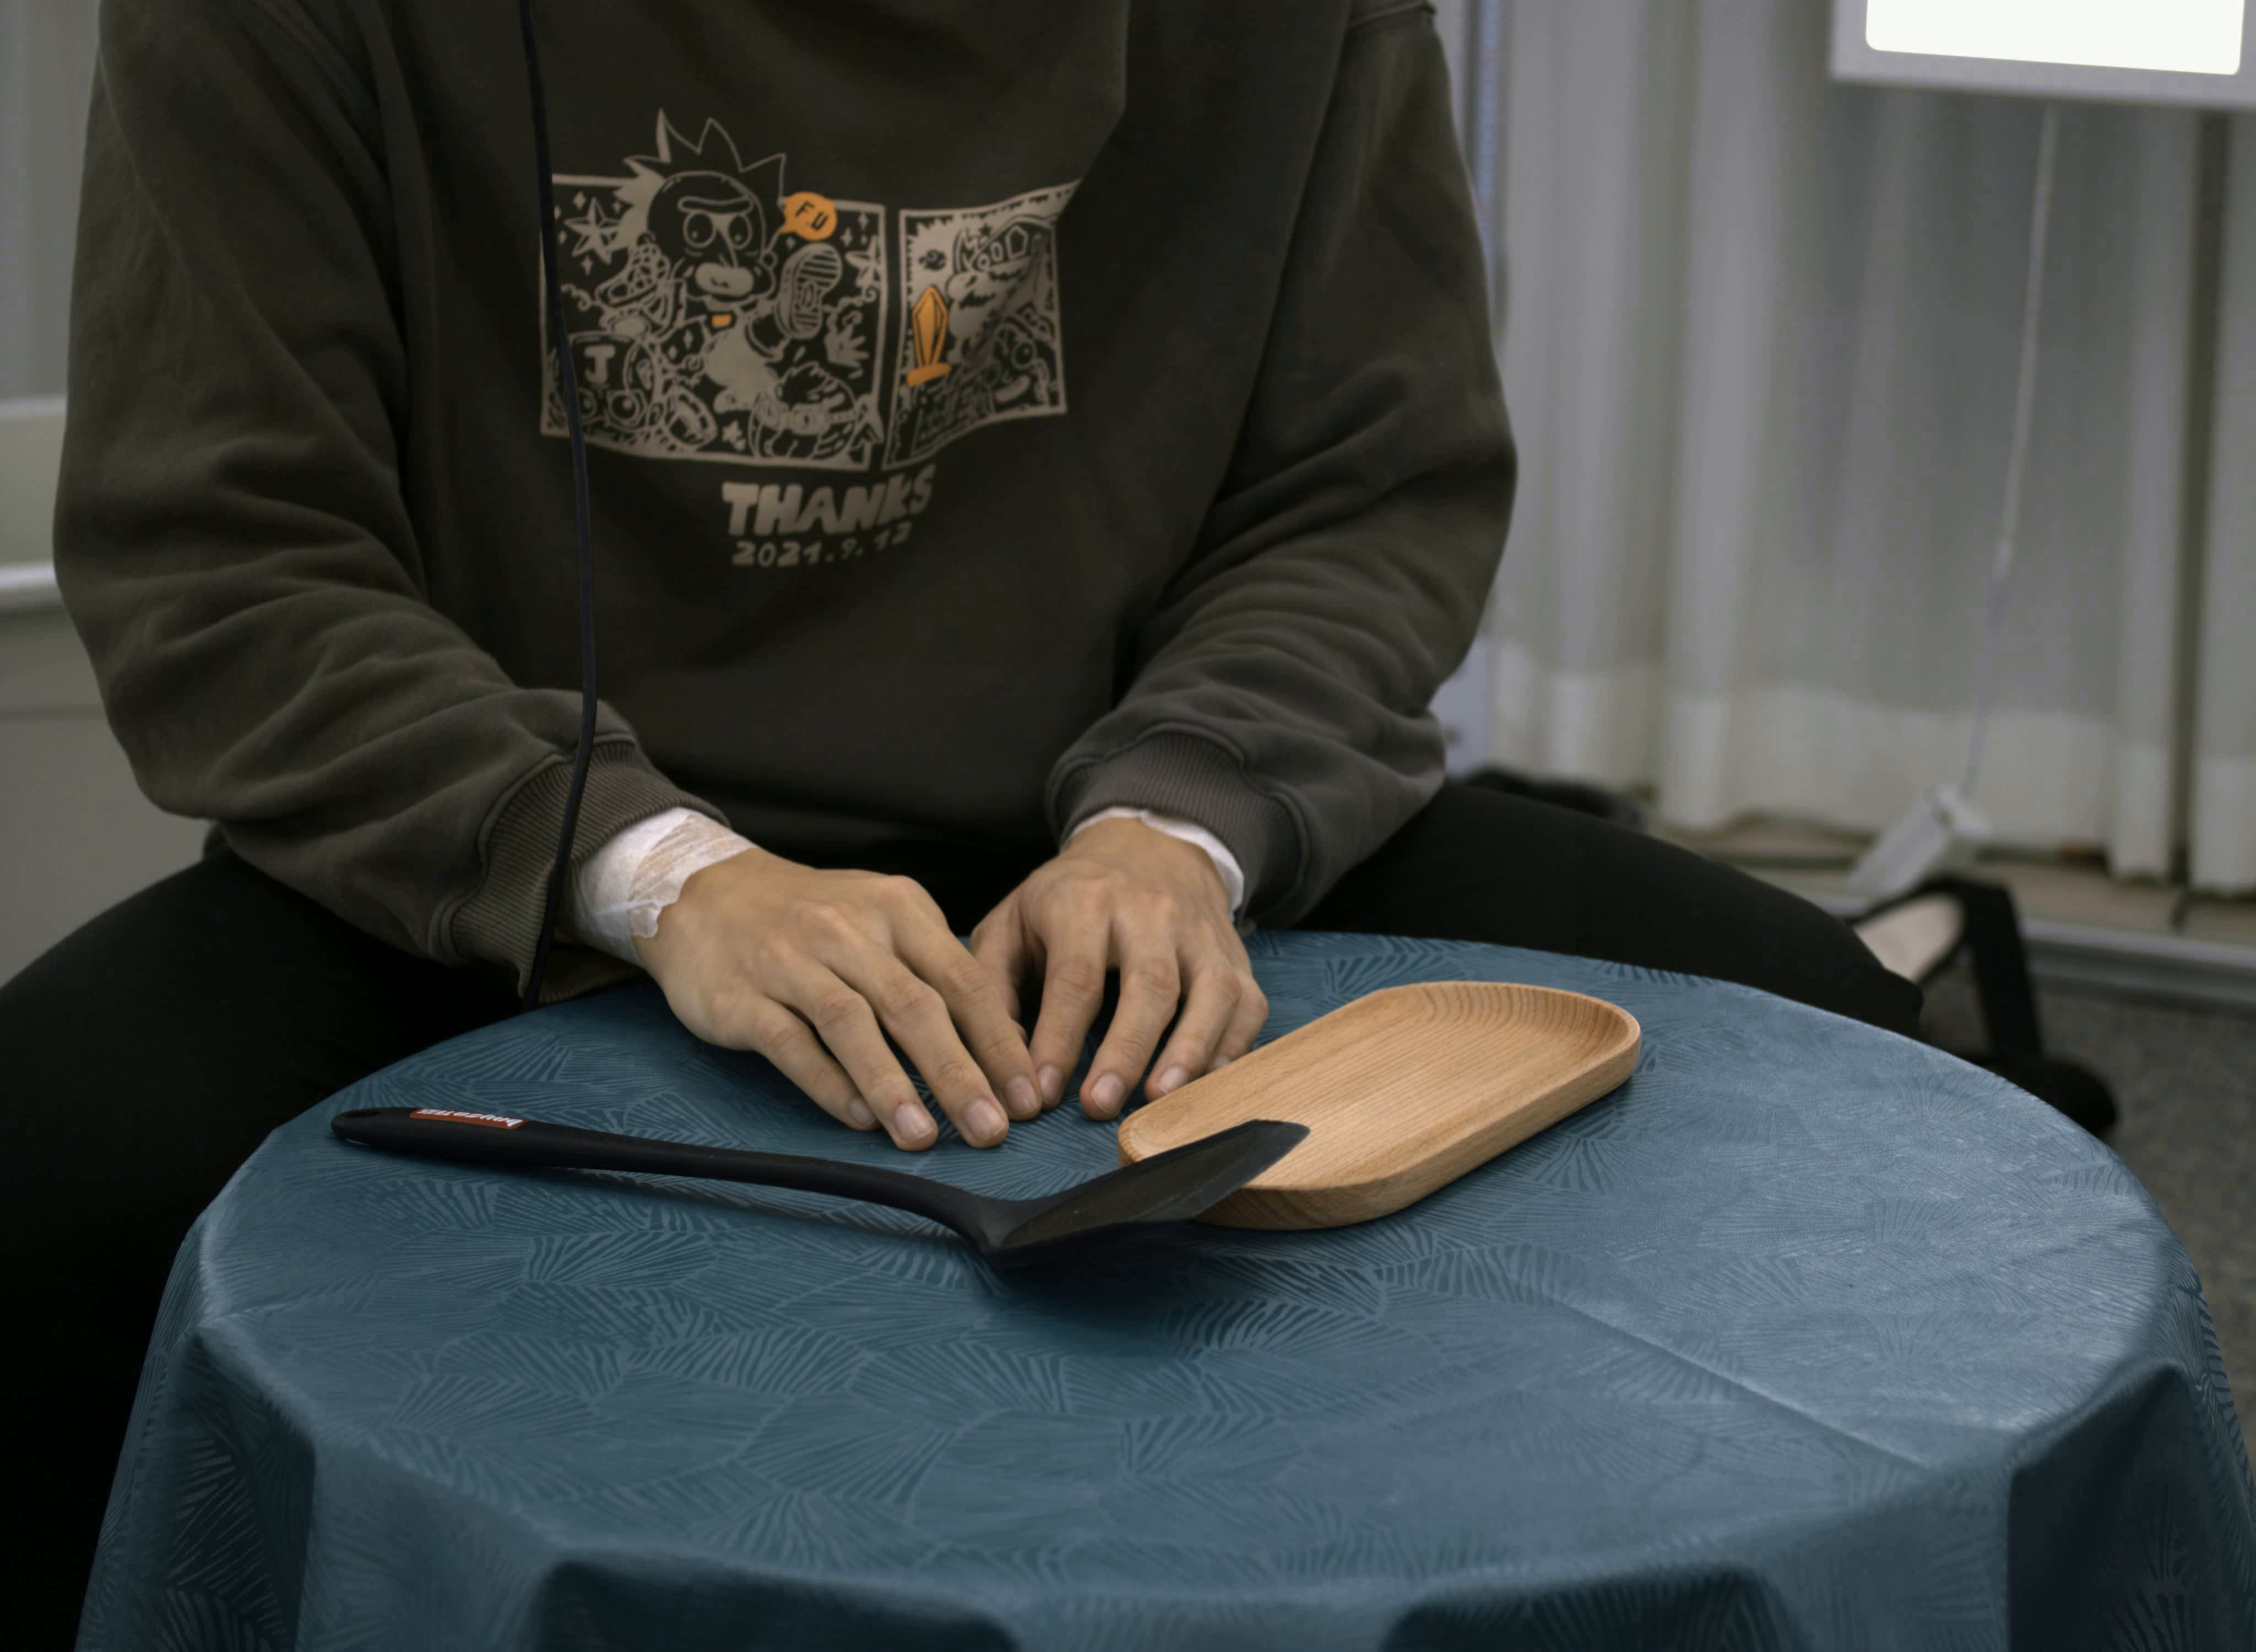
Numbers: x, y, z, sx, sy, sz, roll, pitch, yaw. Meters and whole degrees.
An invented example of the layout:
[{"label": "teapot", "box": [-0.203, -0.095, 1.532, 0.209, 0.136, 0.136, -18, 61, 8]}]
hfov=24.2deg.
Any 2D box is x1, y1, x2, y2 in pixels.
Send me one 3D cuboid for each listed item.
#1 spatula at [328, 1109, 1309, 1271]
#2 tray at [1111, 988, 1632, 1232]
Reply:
[{"label": "spatula", "box": [-0.106, 0.100, 1.605, 0.323, 0.040, 0.100, 8, 16, 23]}, {"label": "tray", "box": [0.080, 0.089, 1.688, 0.100, 0.020, 0.232, 10, 19, 31]}]
